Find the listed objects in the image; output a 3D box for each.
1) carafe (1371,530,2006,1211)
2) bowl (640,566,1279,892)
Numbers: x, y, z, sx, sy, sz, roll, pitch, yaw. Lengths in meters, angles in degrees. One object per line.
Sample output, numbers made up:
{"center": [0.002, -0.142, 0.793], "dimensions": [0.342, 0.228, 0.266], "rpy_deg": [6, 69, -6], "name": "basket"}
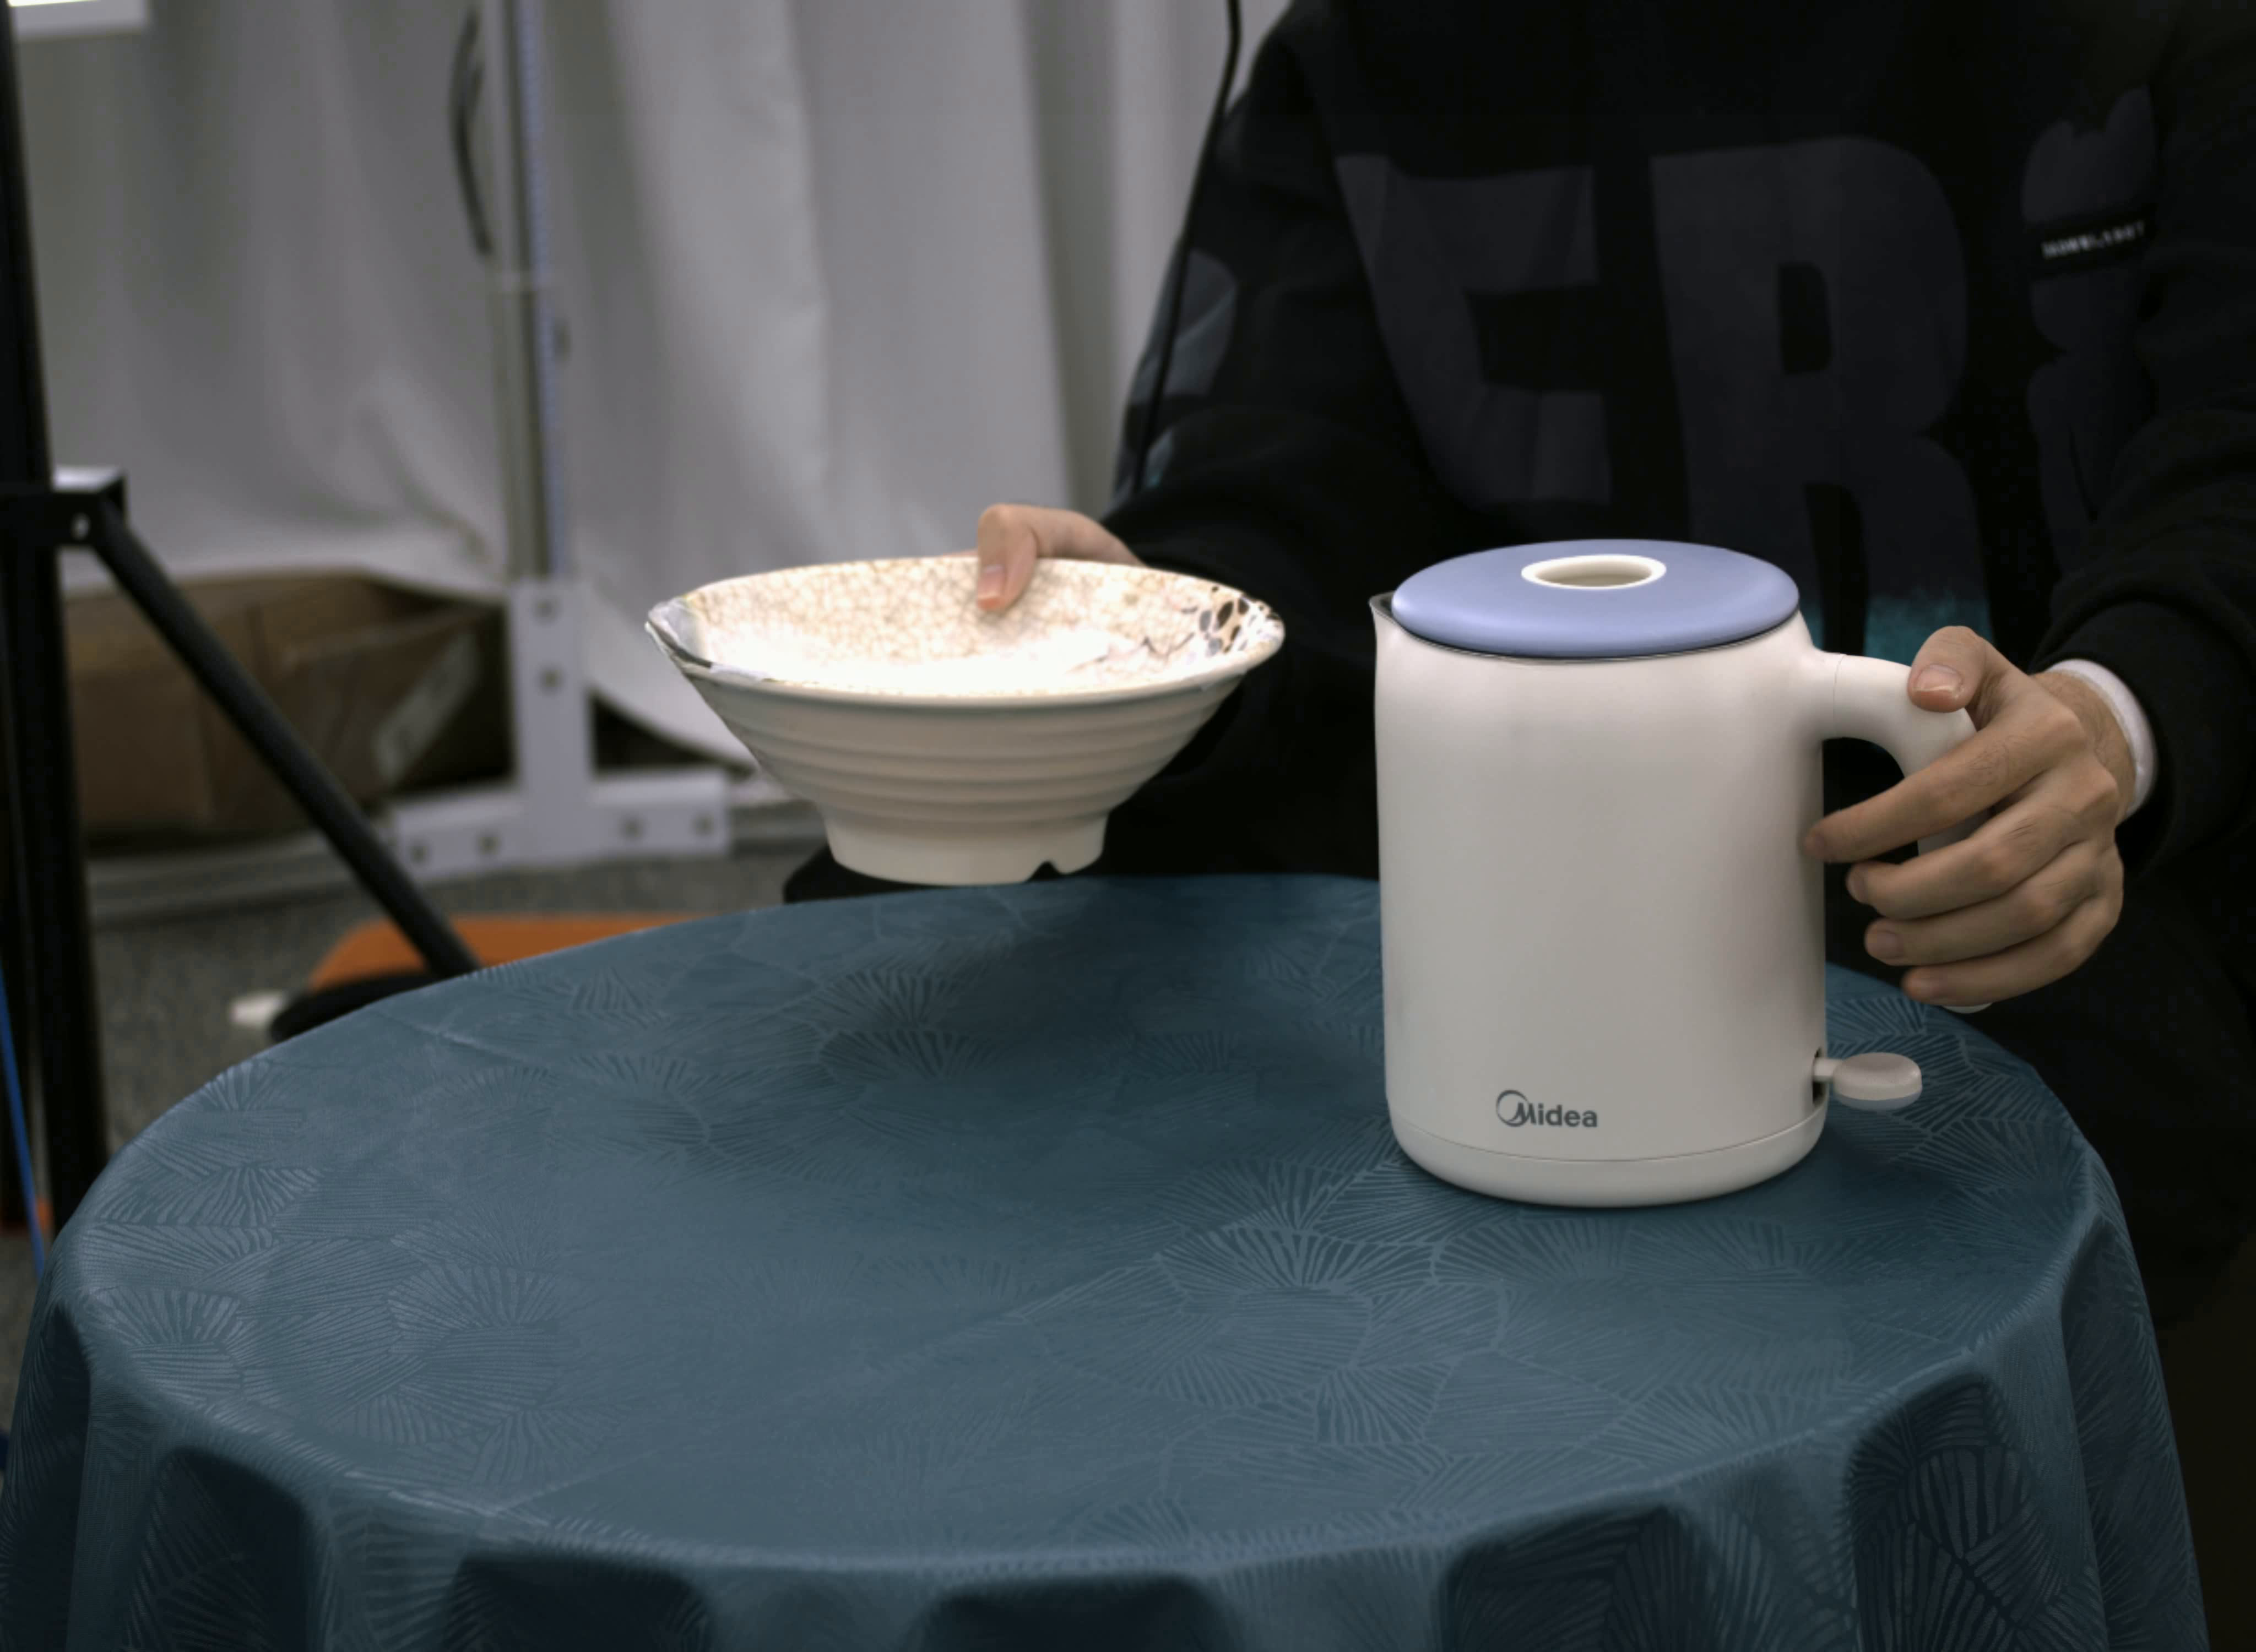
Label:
{"center": [0.162, 0.015, 1.548], "dimensions": [0.193, 0.182, 0.131], "rpy_deg": [6, 18, 19], "name": "carafe"}
{"center": [-0.055, -0.027, 1.698], "dimensions": [0.203, 0.078, 0.205], "rpy_deg": [2, 13, -2], "name": "bowl"}
